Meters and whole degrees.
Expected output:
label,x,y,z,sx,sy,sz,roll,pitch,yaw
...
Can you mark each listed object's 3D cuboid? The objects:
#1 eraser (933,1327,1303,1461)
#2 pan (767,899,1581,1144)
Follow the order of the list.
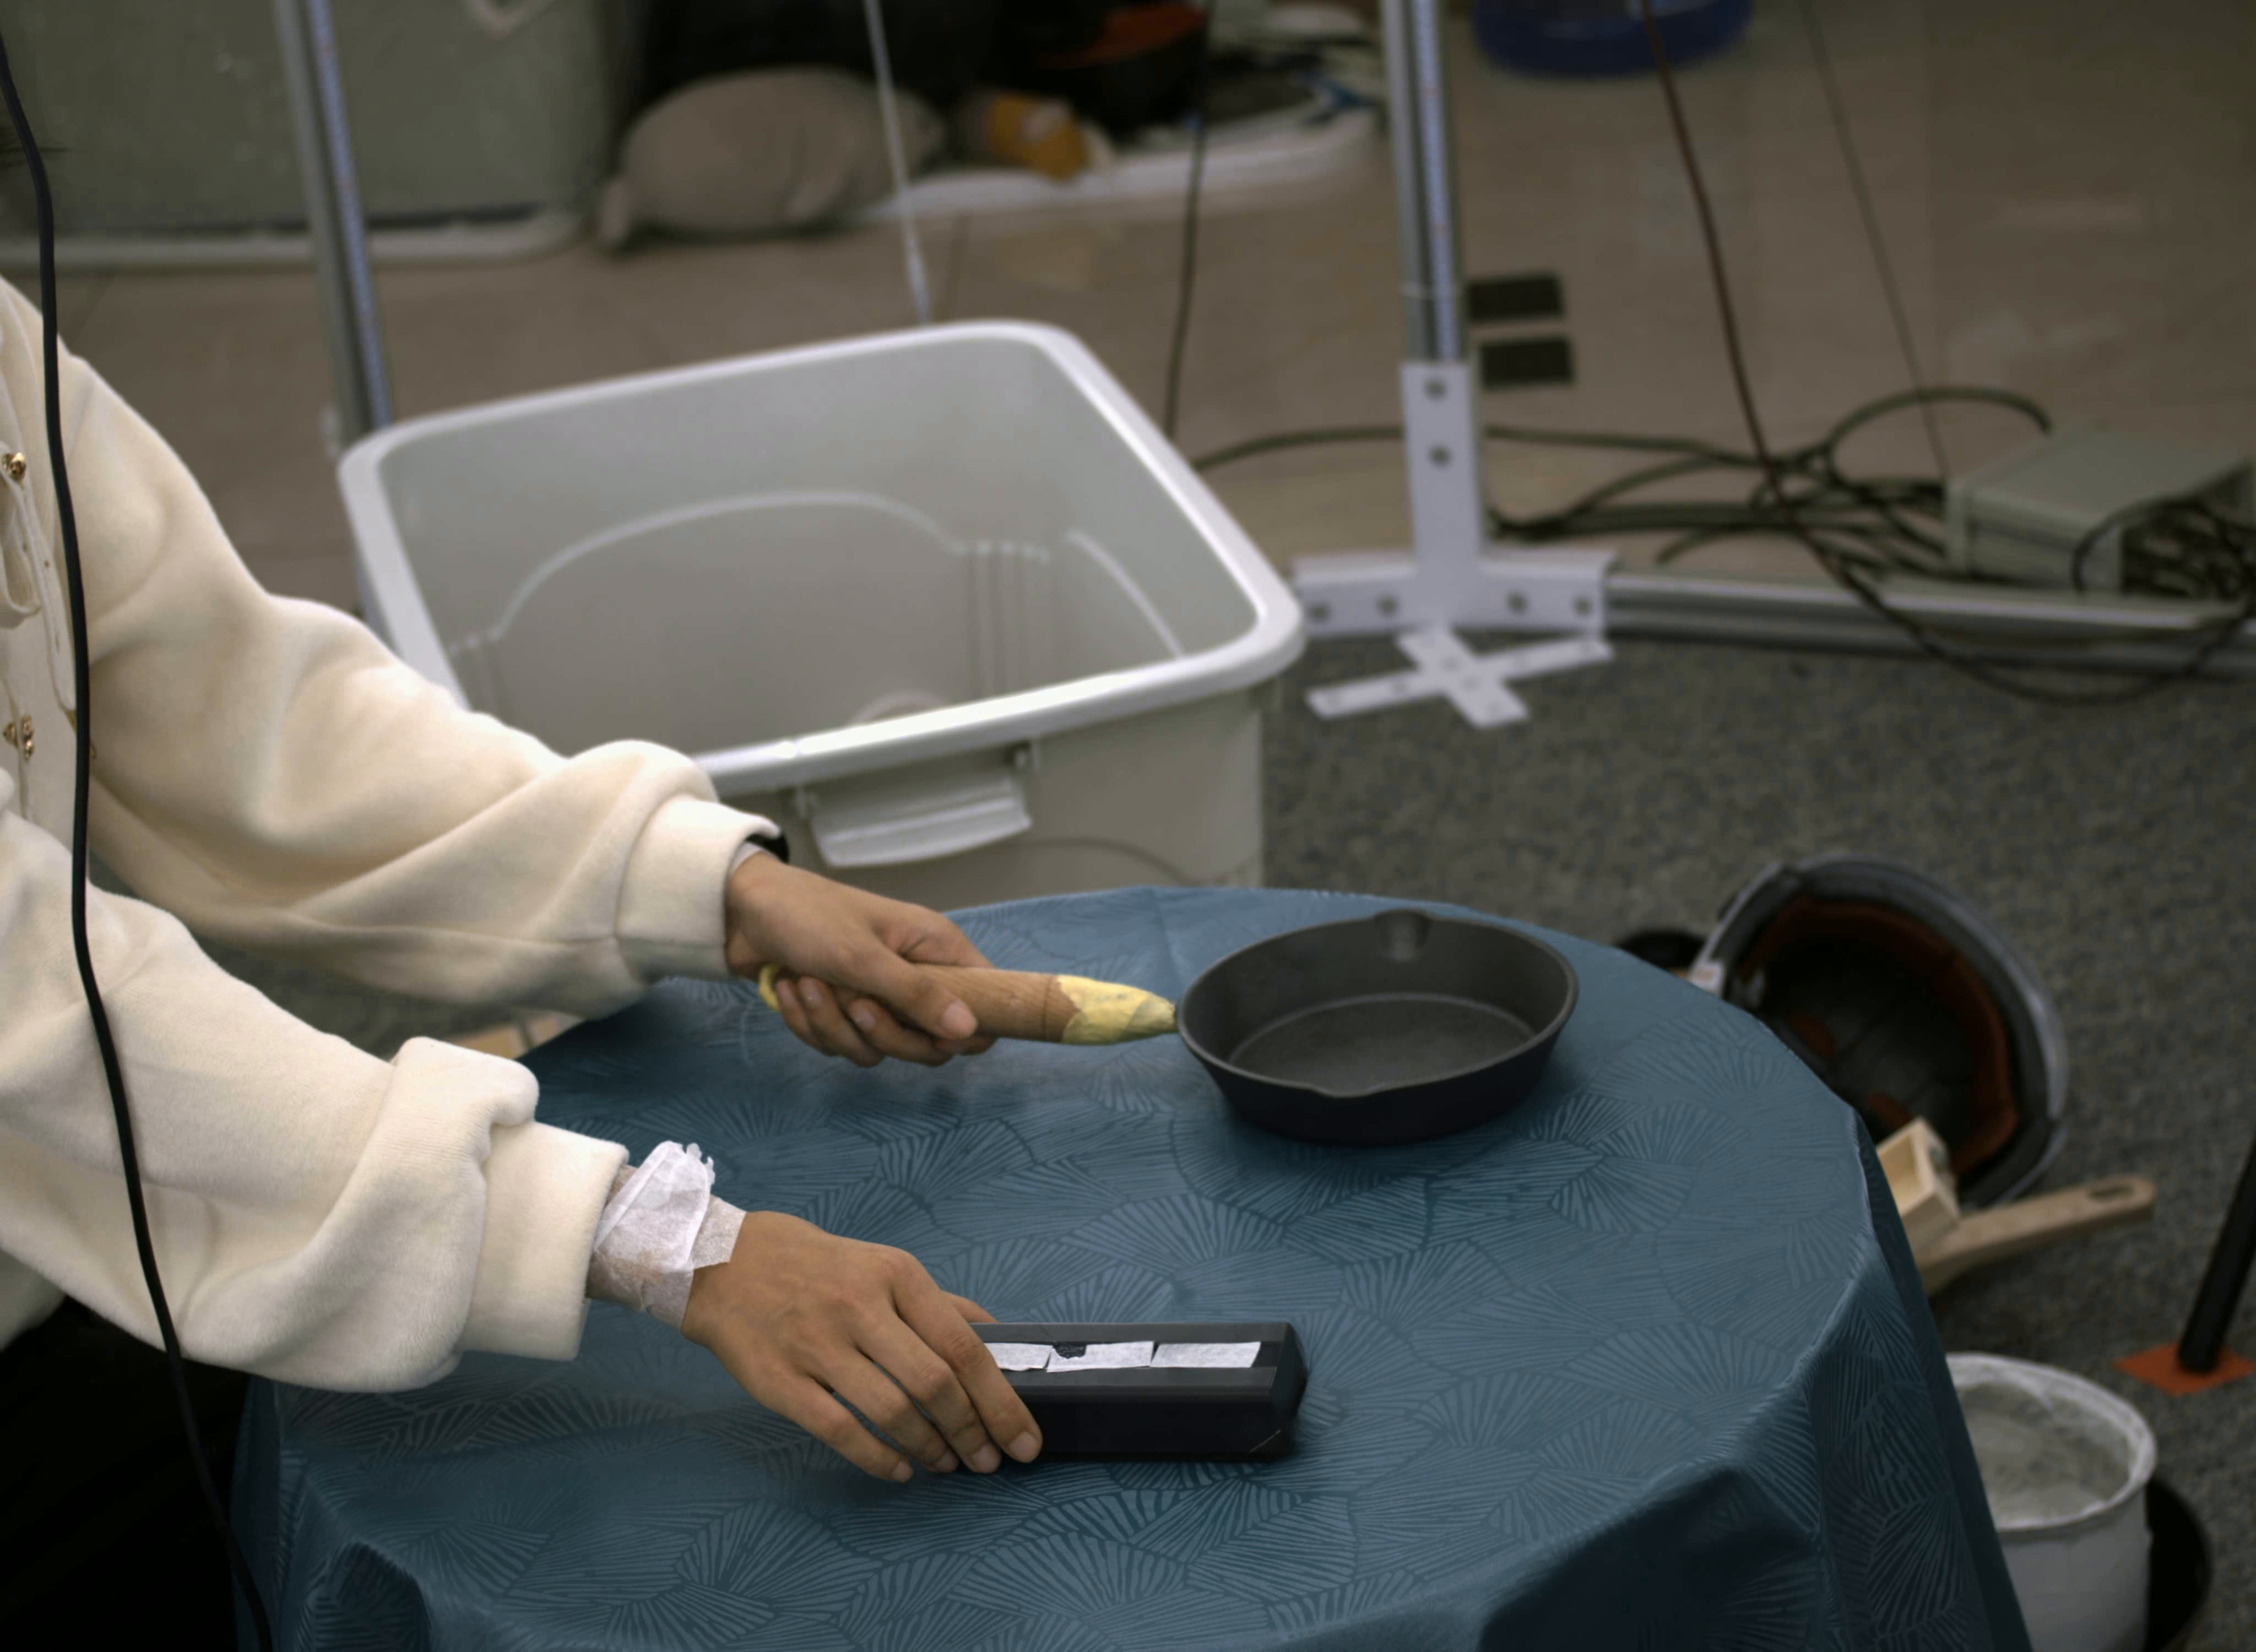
label,x,y,z,sx,sy,sz,roll,pitch,yaw
eraser,-0.002,0.199,1.989,0.125,0.031,0.053,-2,26,13
pan,0.017,0.074,2.220,0.323,0.050,0.166,1,26,13
